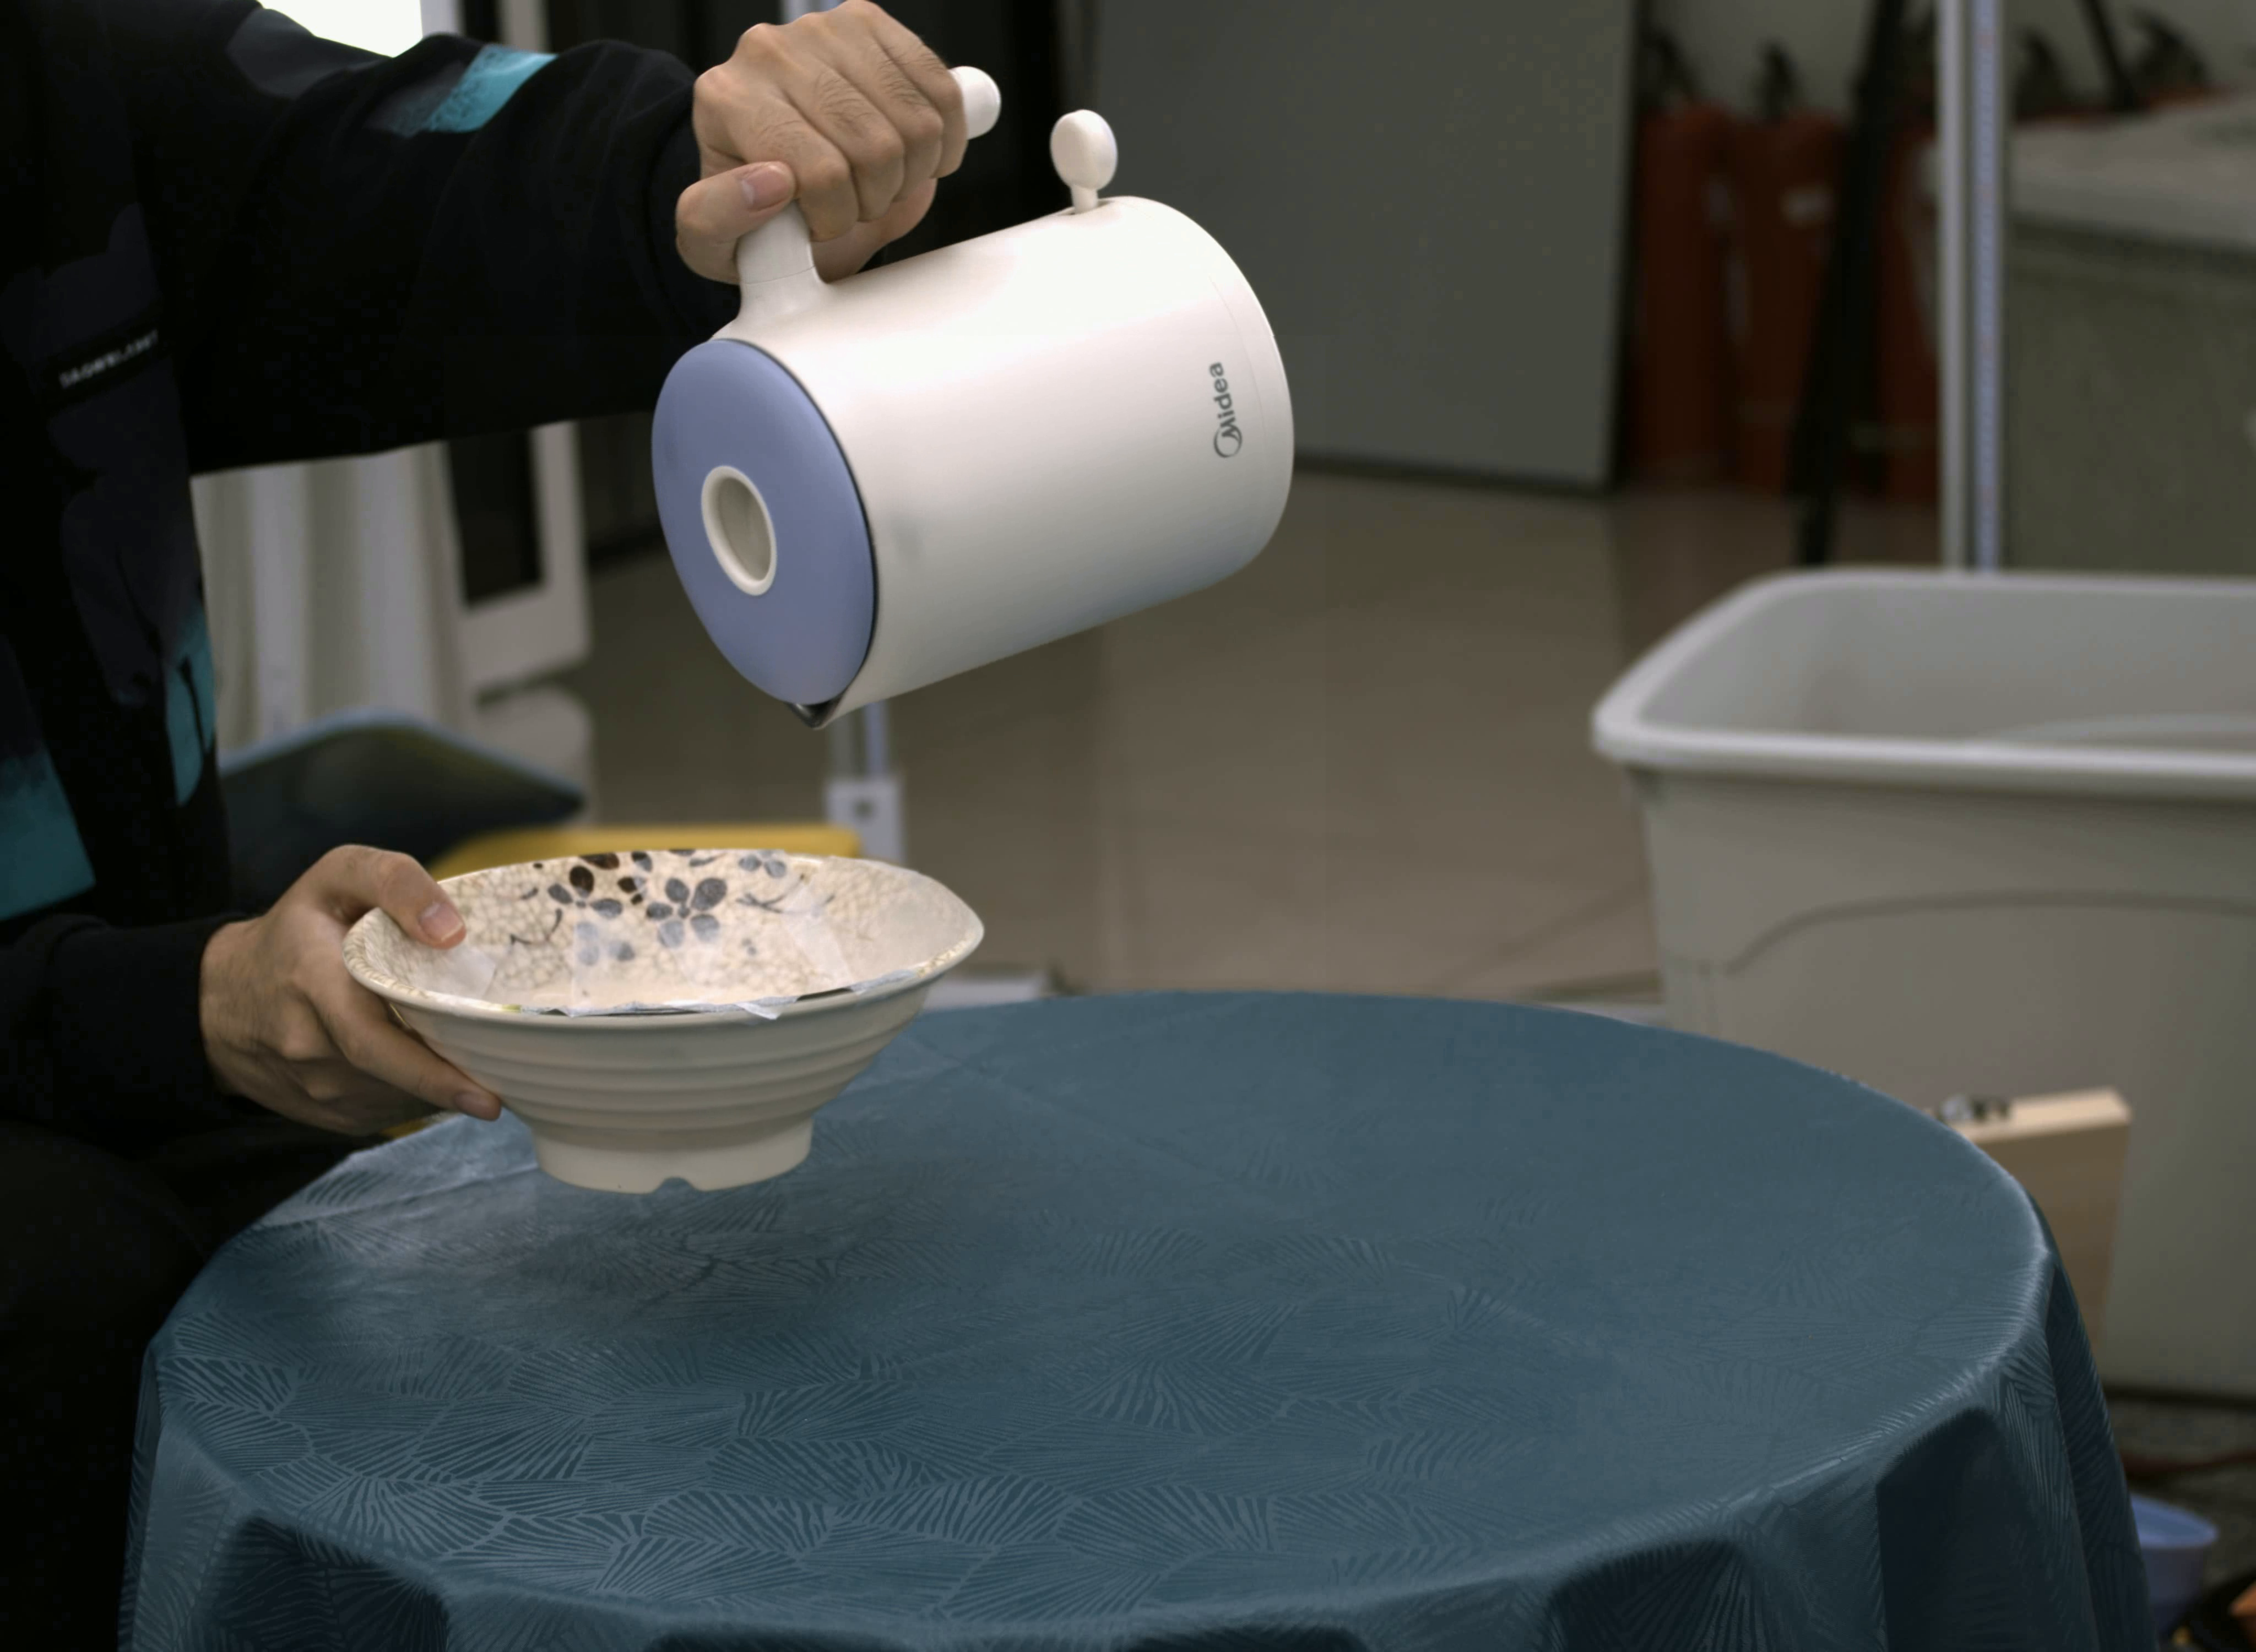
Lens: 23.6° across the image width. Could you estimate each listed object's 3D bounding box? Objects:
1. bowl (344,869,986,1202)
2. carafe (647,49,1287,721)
[{"bbox_3d":[-0.143,0.070,1.703,0.201,0.079,0.204,-3,10,0],"label":"bowl"},{"bbox_3d":[-0.055,-0.146,1.714,0.179,0.193,0.133,-17,11,-33],"label":"carafe"}]
